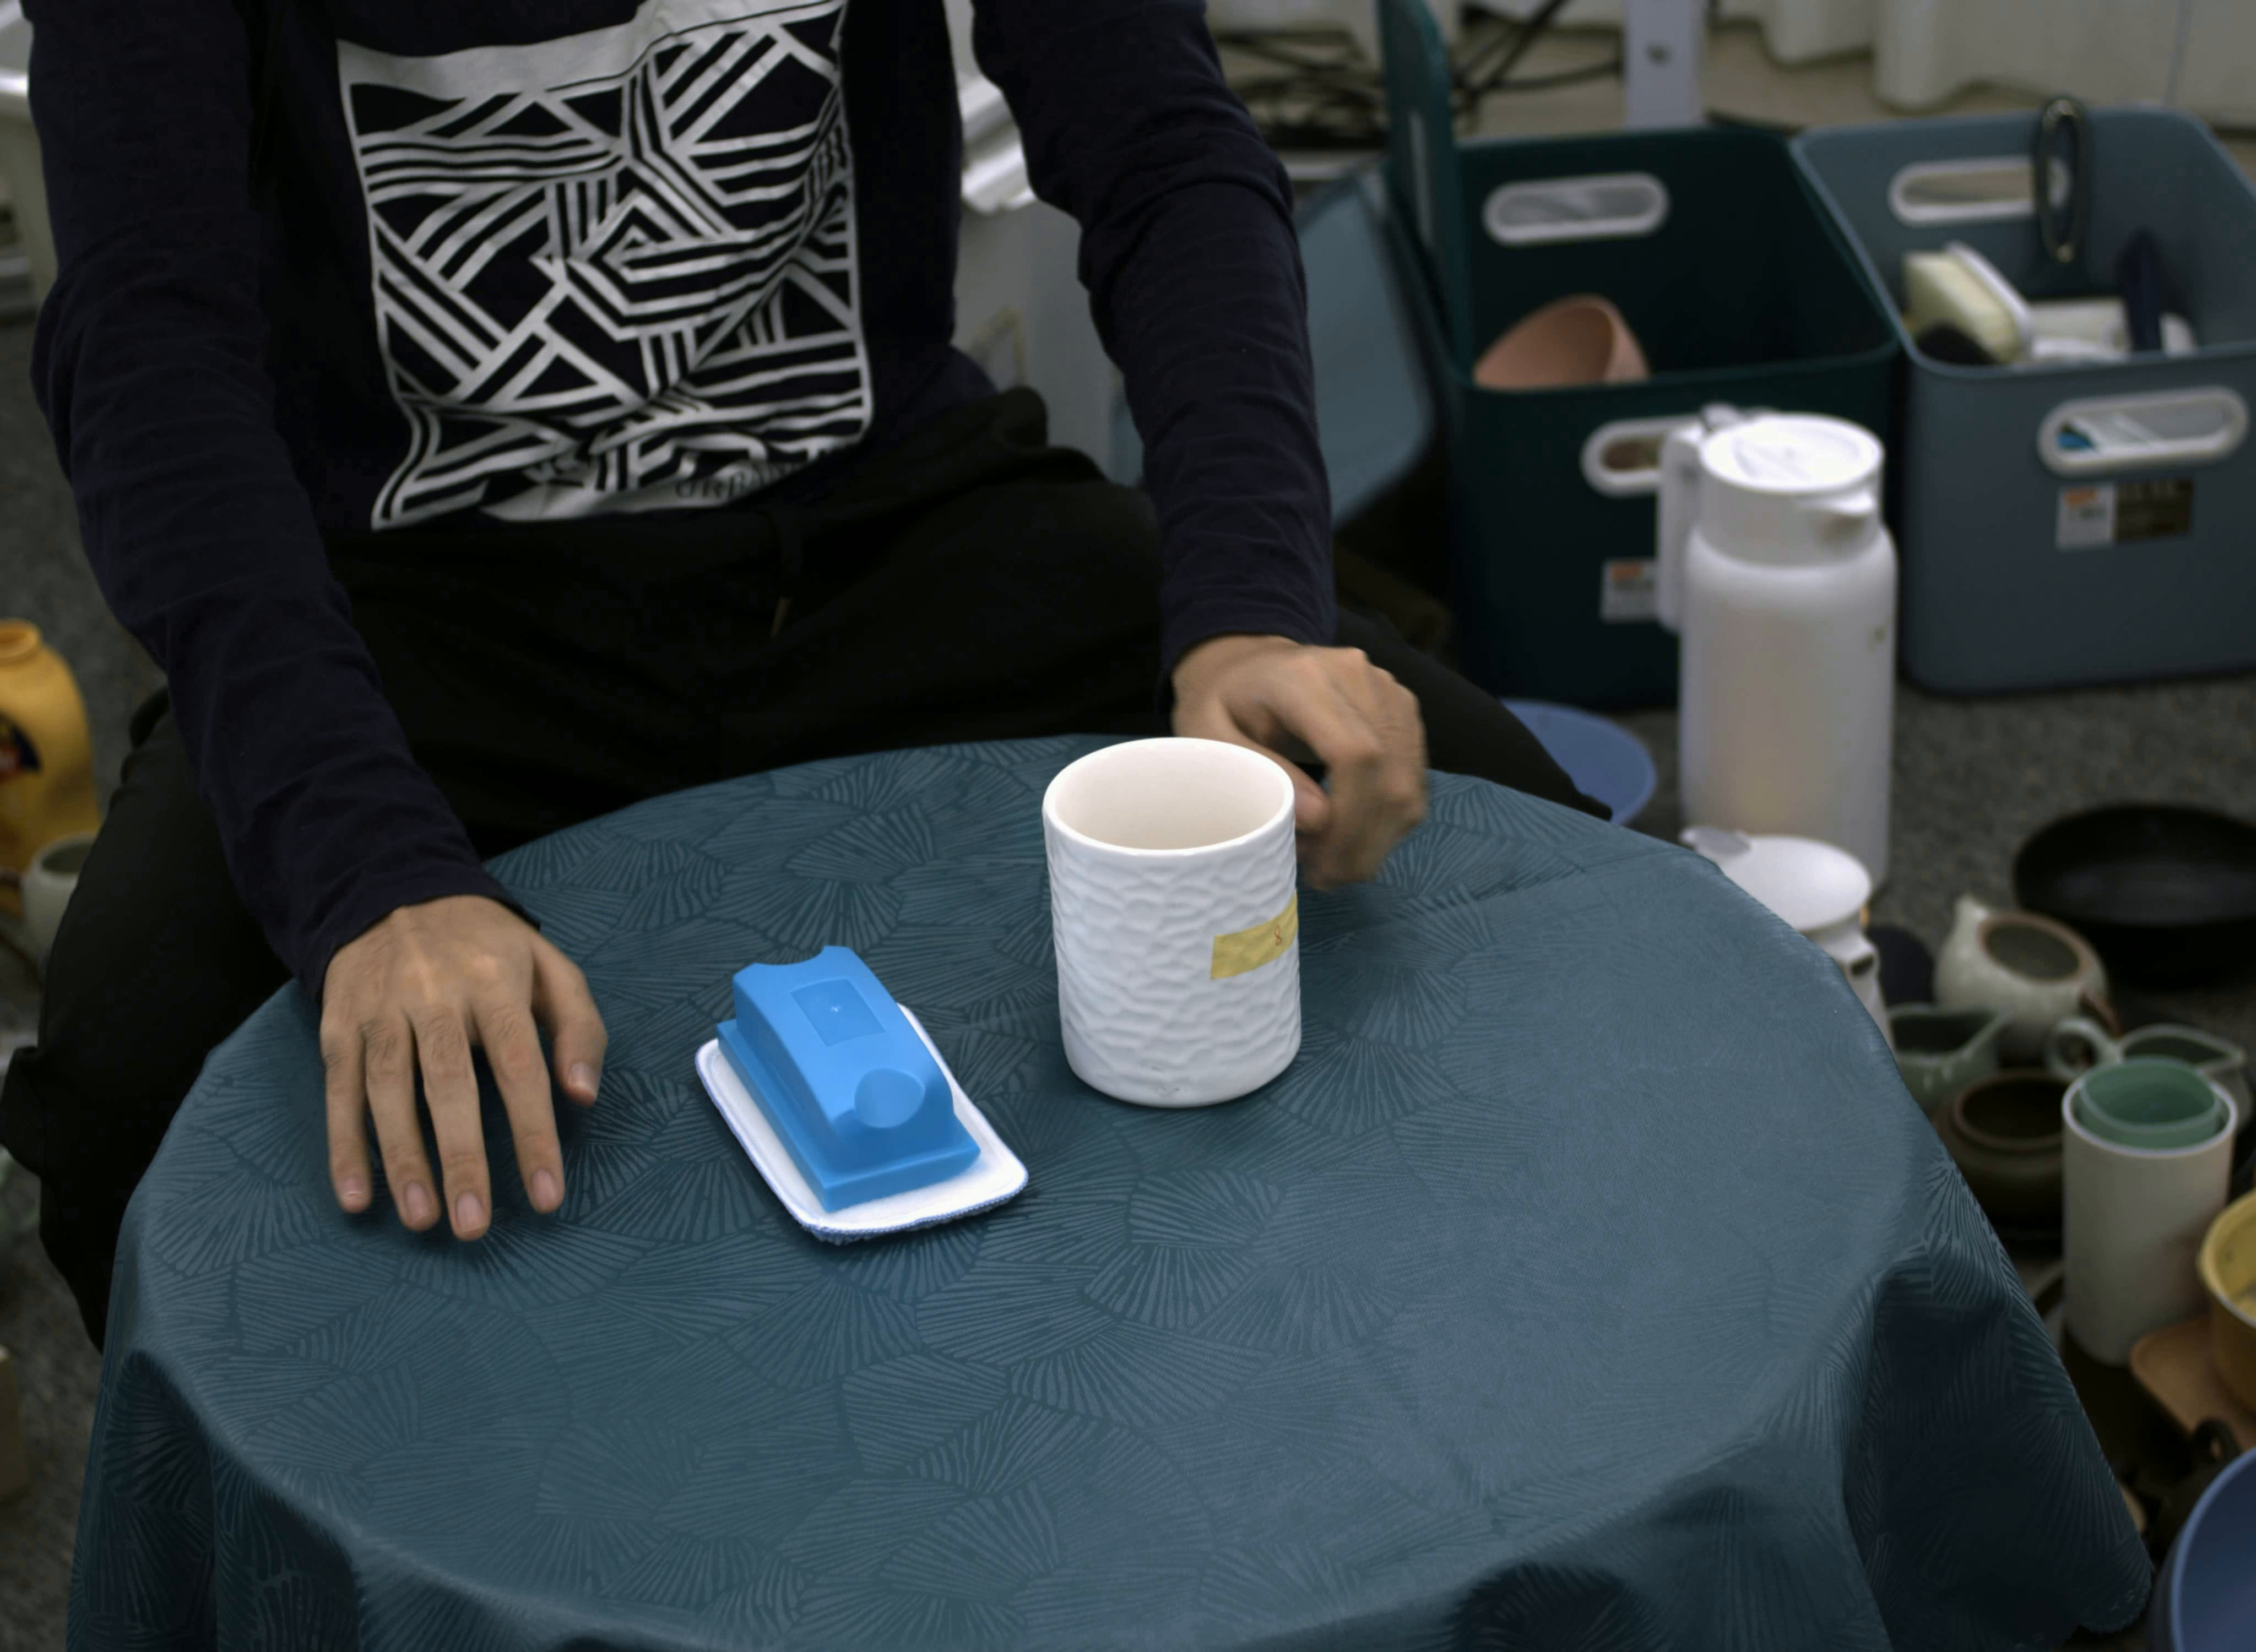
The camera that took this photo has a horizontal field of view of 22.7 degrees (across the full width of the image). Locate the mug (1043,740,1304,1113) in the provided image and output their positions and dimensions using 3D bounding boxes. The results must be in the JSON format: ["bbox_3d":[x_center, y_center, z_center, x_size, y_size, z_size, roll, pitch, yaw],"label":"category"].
[{"bbox_3d":[0.008,0.029,1.930,0.085,0.101,0.118,-17,29,-26],"label":"mug"}]

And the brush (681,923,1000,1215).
[{"bbox_3d":[-0.096,0.077,1.889,0.084,0.055,0.145,-9,30,-17],"label":"brush"}]
